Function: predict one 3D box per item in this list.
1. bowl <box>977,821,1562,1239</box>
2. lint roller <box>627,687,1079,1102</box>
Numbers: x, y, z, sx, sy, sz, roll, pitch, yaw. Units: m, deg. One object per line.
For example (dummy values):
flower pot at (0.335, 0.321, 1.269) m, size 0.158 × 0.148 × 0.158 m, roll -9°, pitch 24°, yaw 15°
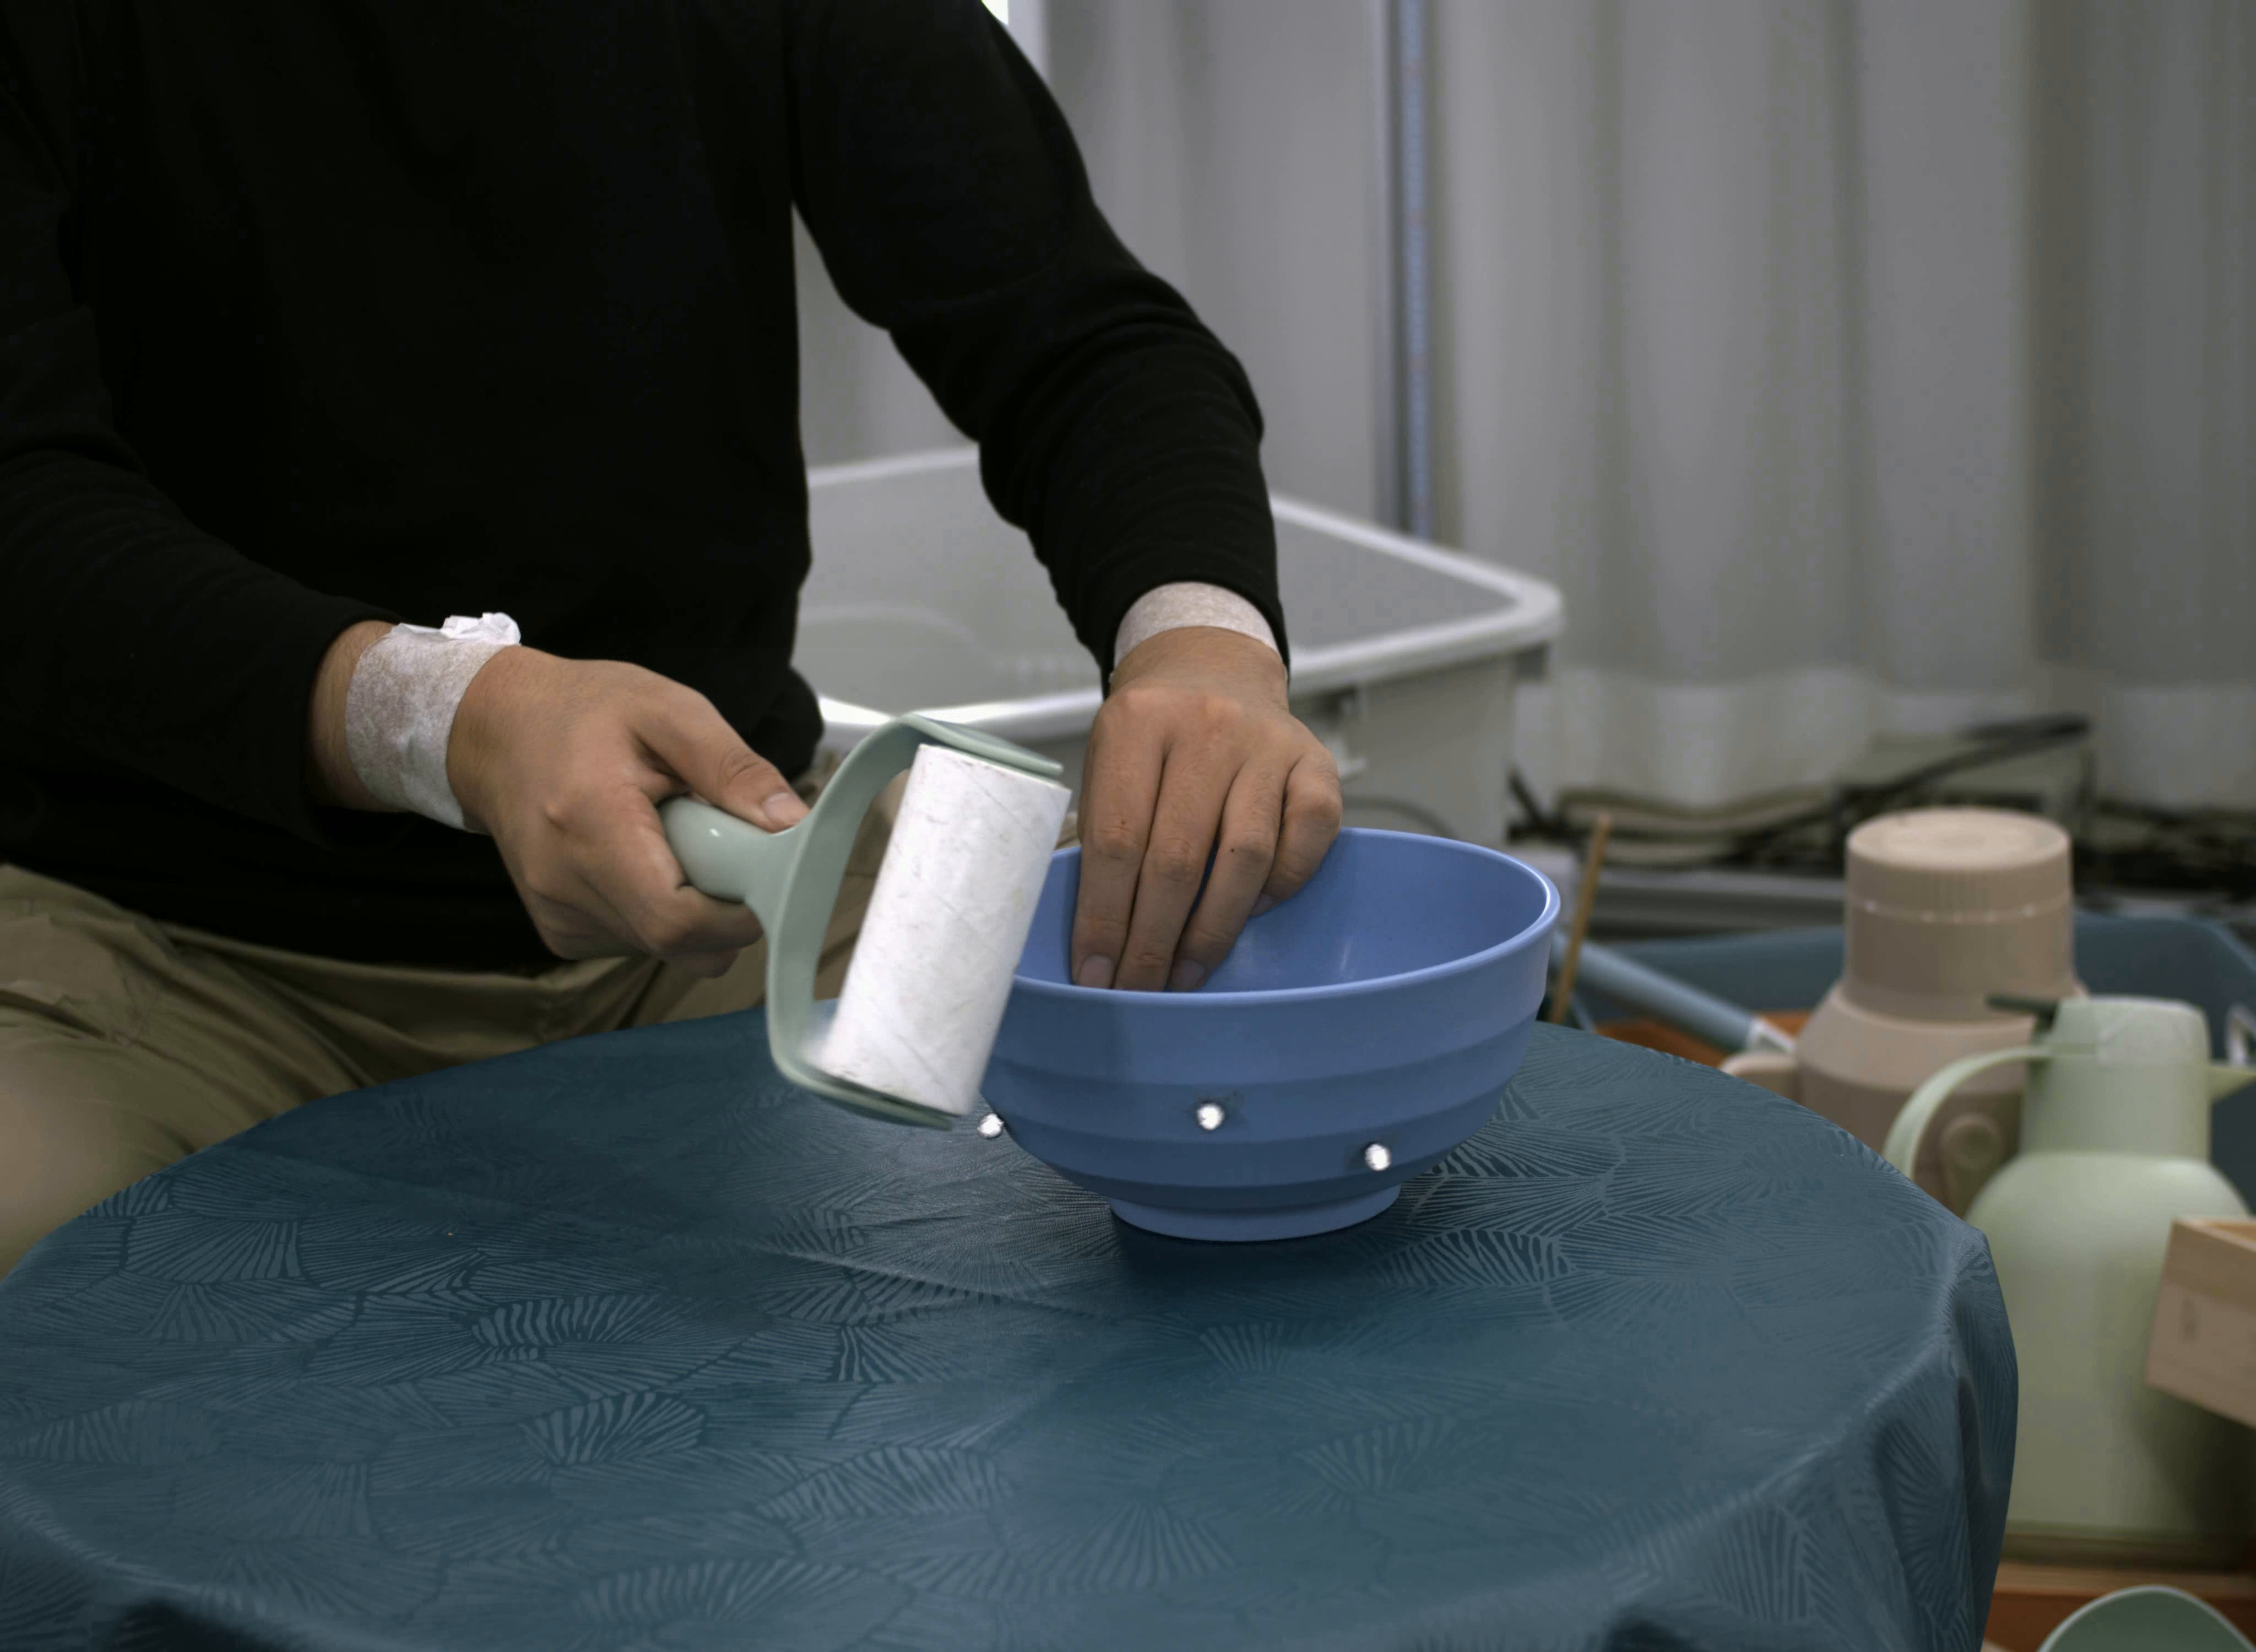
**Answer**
bowl at (0.038, 0.068, 1.691) m, size 0.196 × 0.095 × 0.198 m, roll -4°, pitch 15°, yaw 1°
lint roller at (-0.097, 0.008, 1.634) m, size 0.048 × 0.117 × 0.199 m, roll 17°, pitch -1°, yaw -43°
